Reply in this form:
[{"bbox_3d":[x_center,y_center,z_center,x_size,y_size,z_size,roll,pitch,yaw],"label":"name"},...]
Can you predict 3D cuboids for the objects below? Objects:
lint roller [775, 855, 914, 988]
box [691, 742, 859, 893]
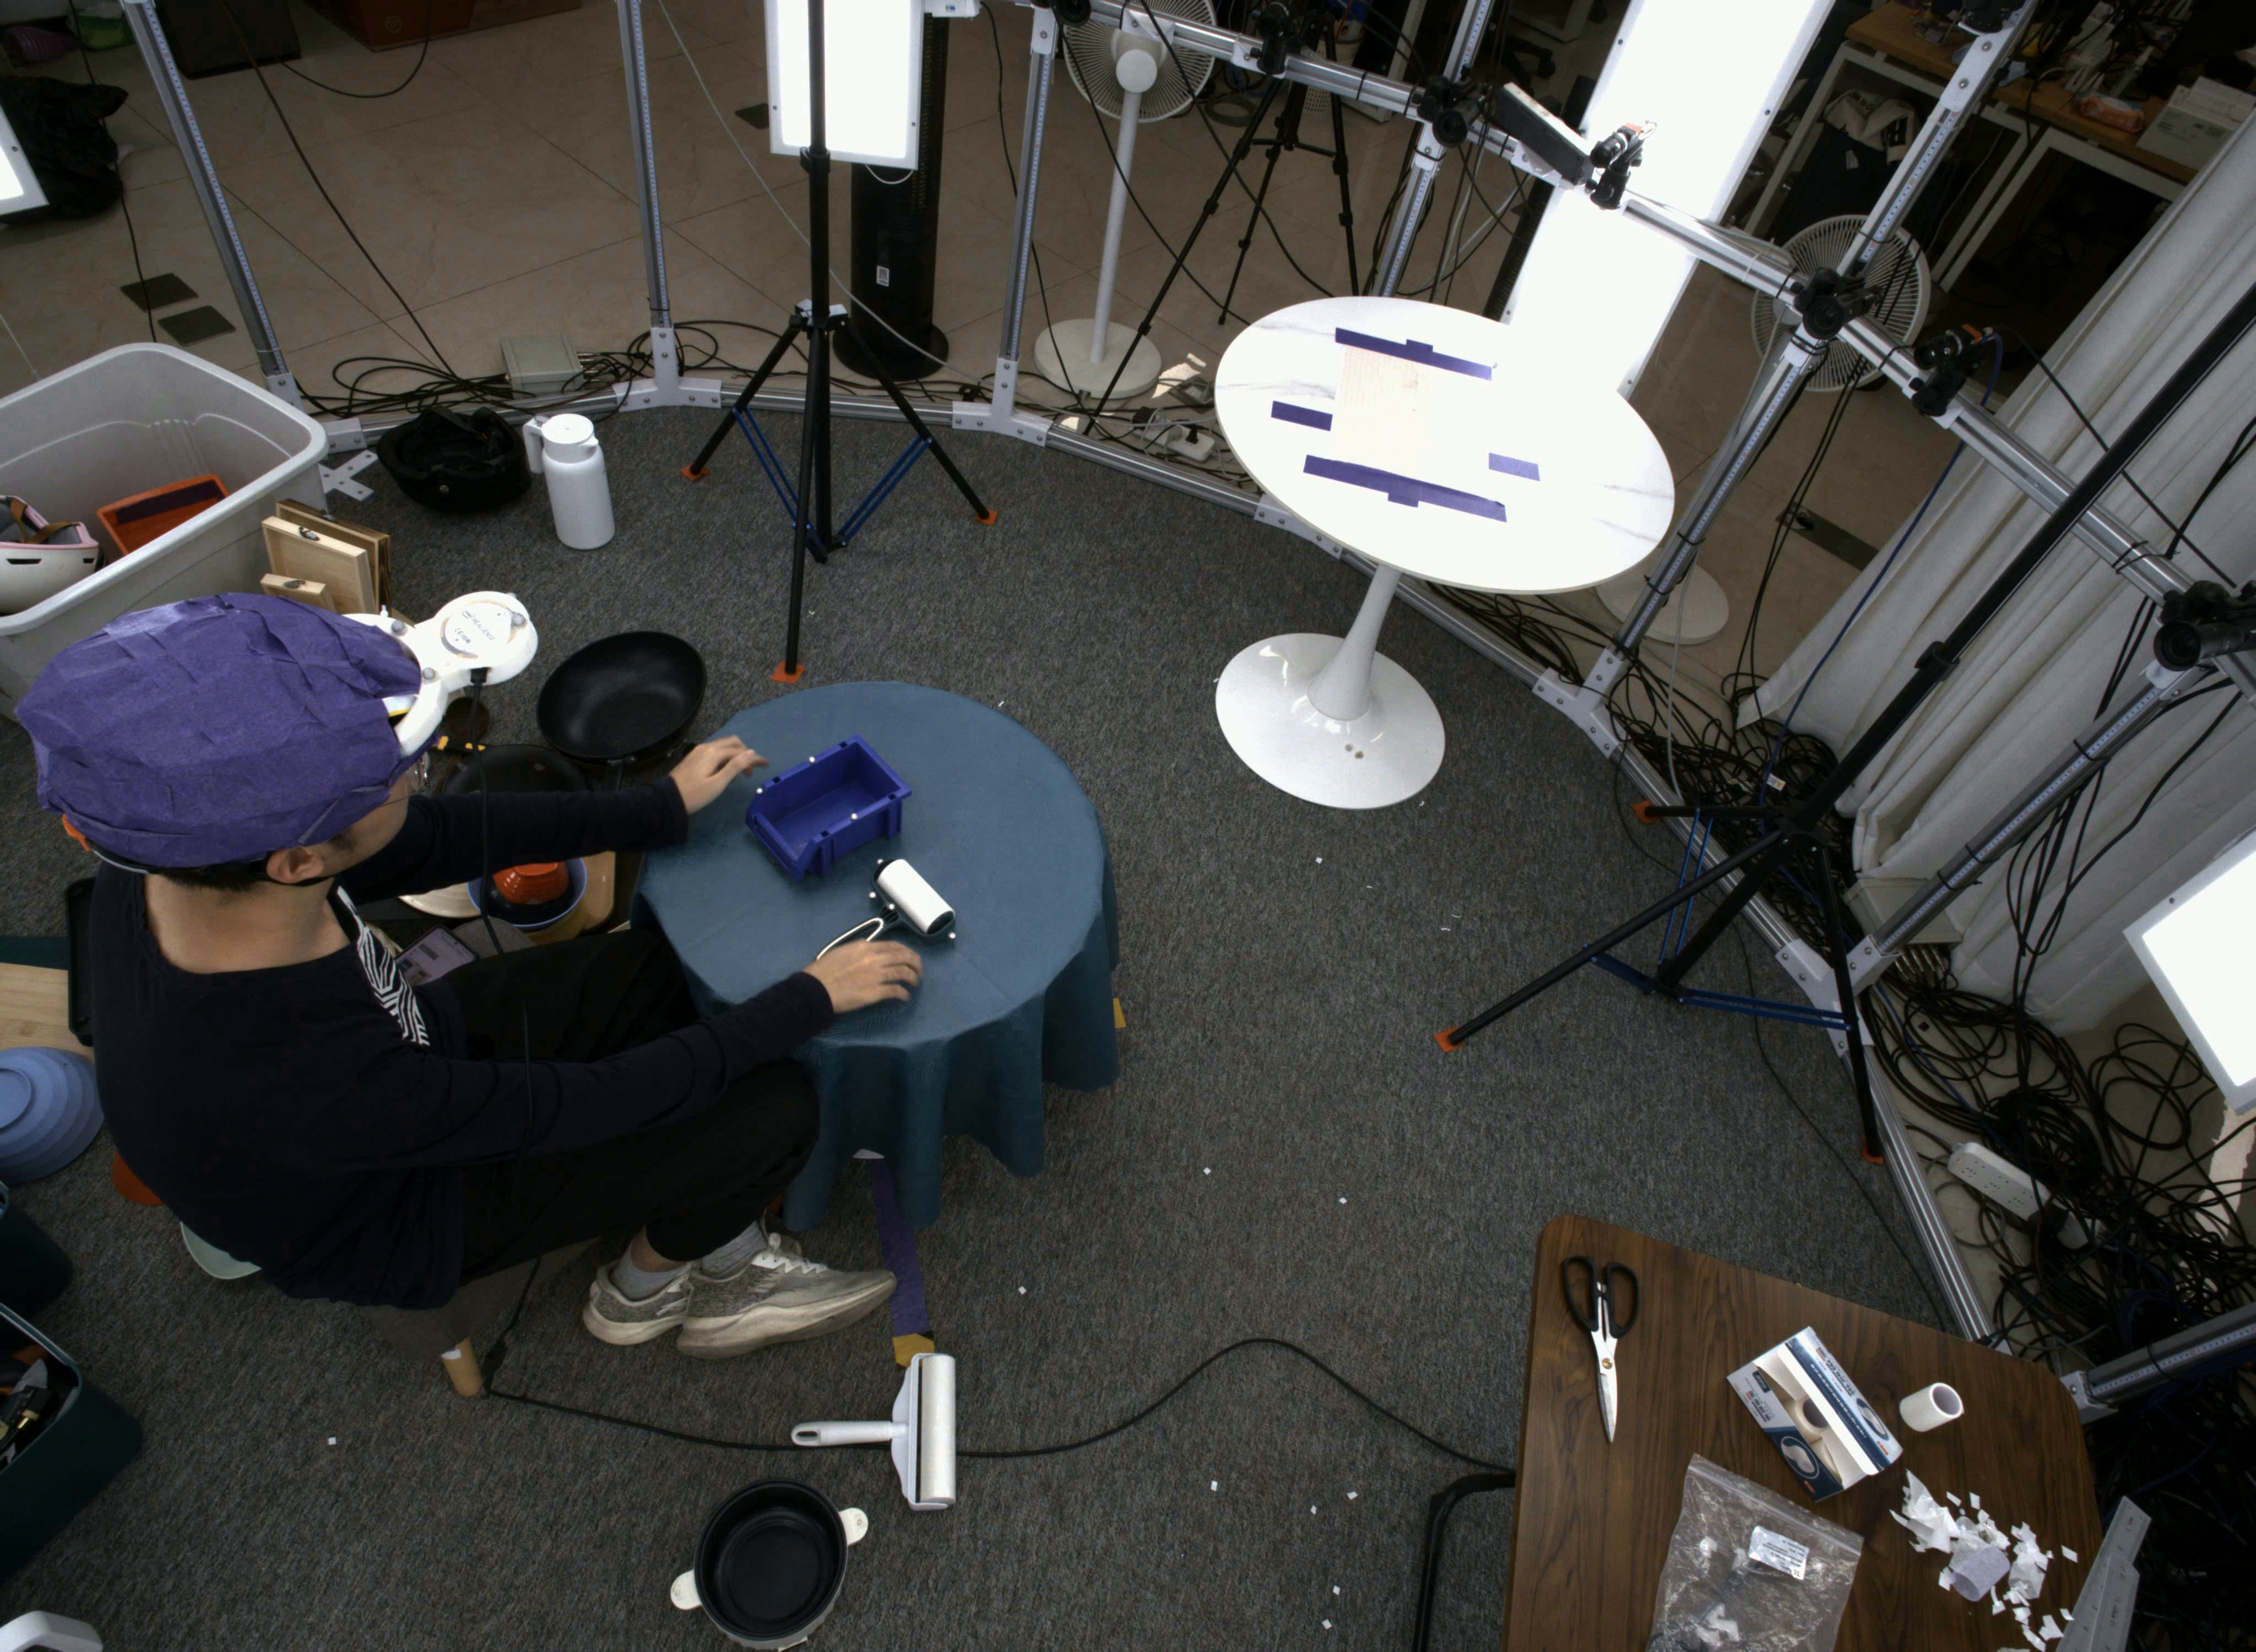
[{"bbox_3d":[-0.371,0.131,1.627,0.131,0.049,0.180,41,60,16],"label":"lint roller"},{"bbox_3d":[-0.457,-0.008,1.680,0.180,0.083,0.122,-33,68,-34],"label":"box"}]
